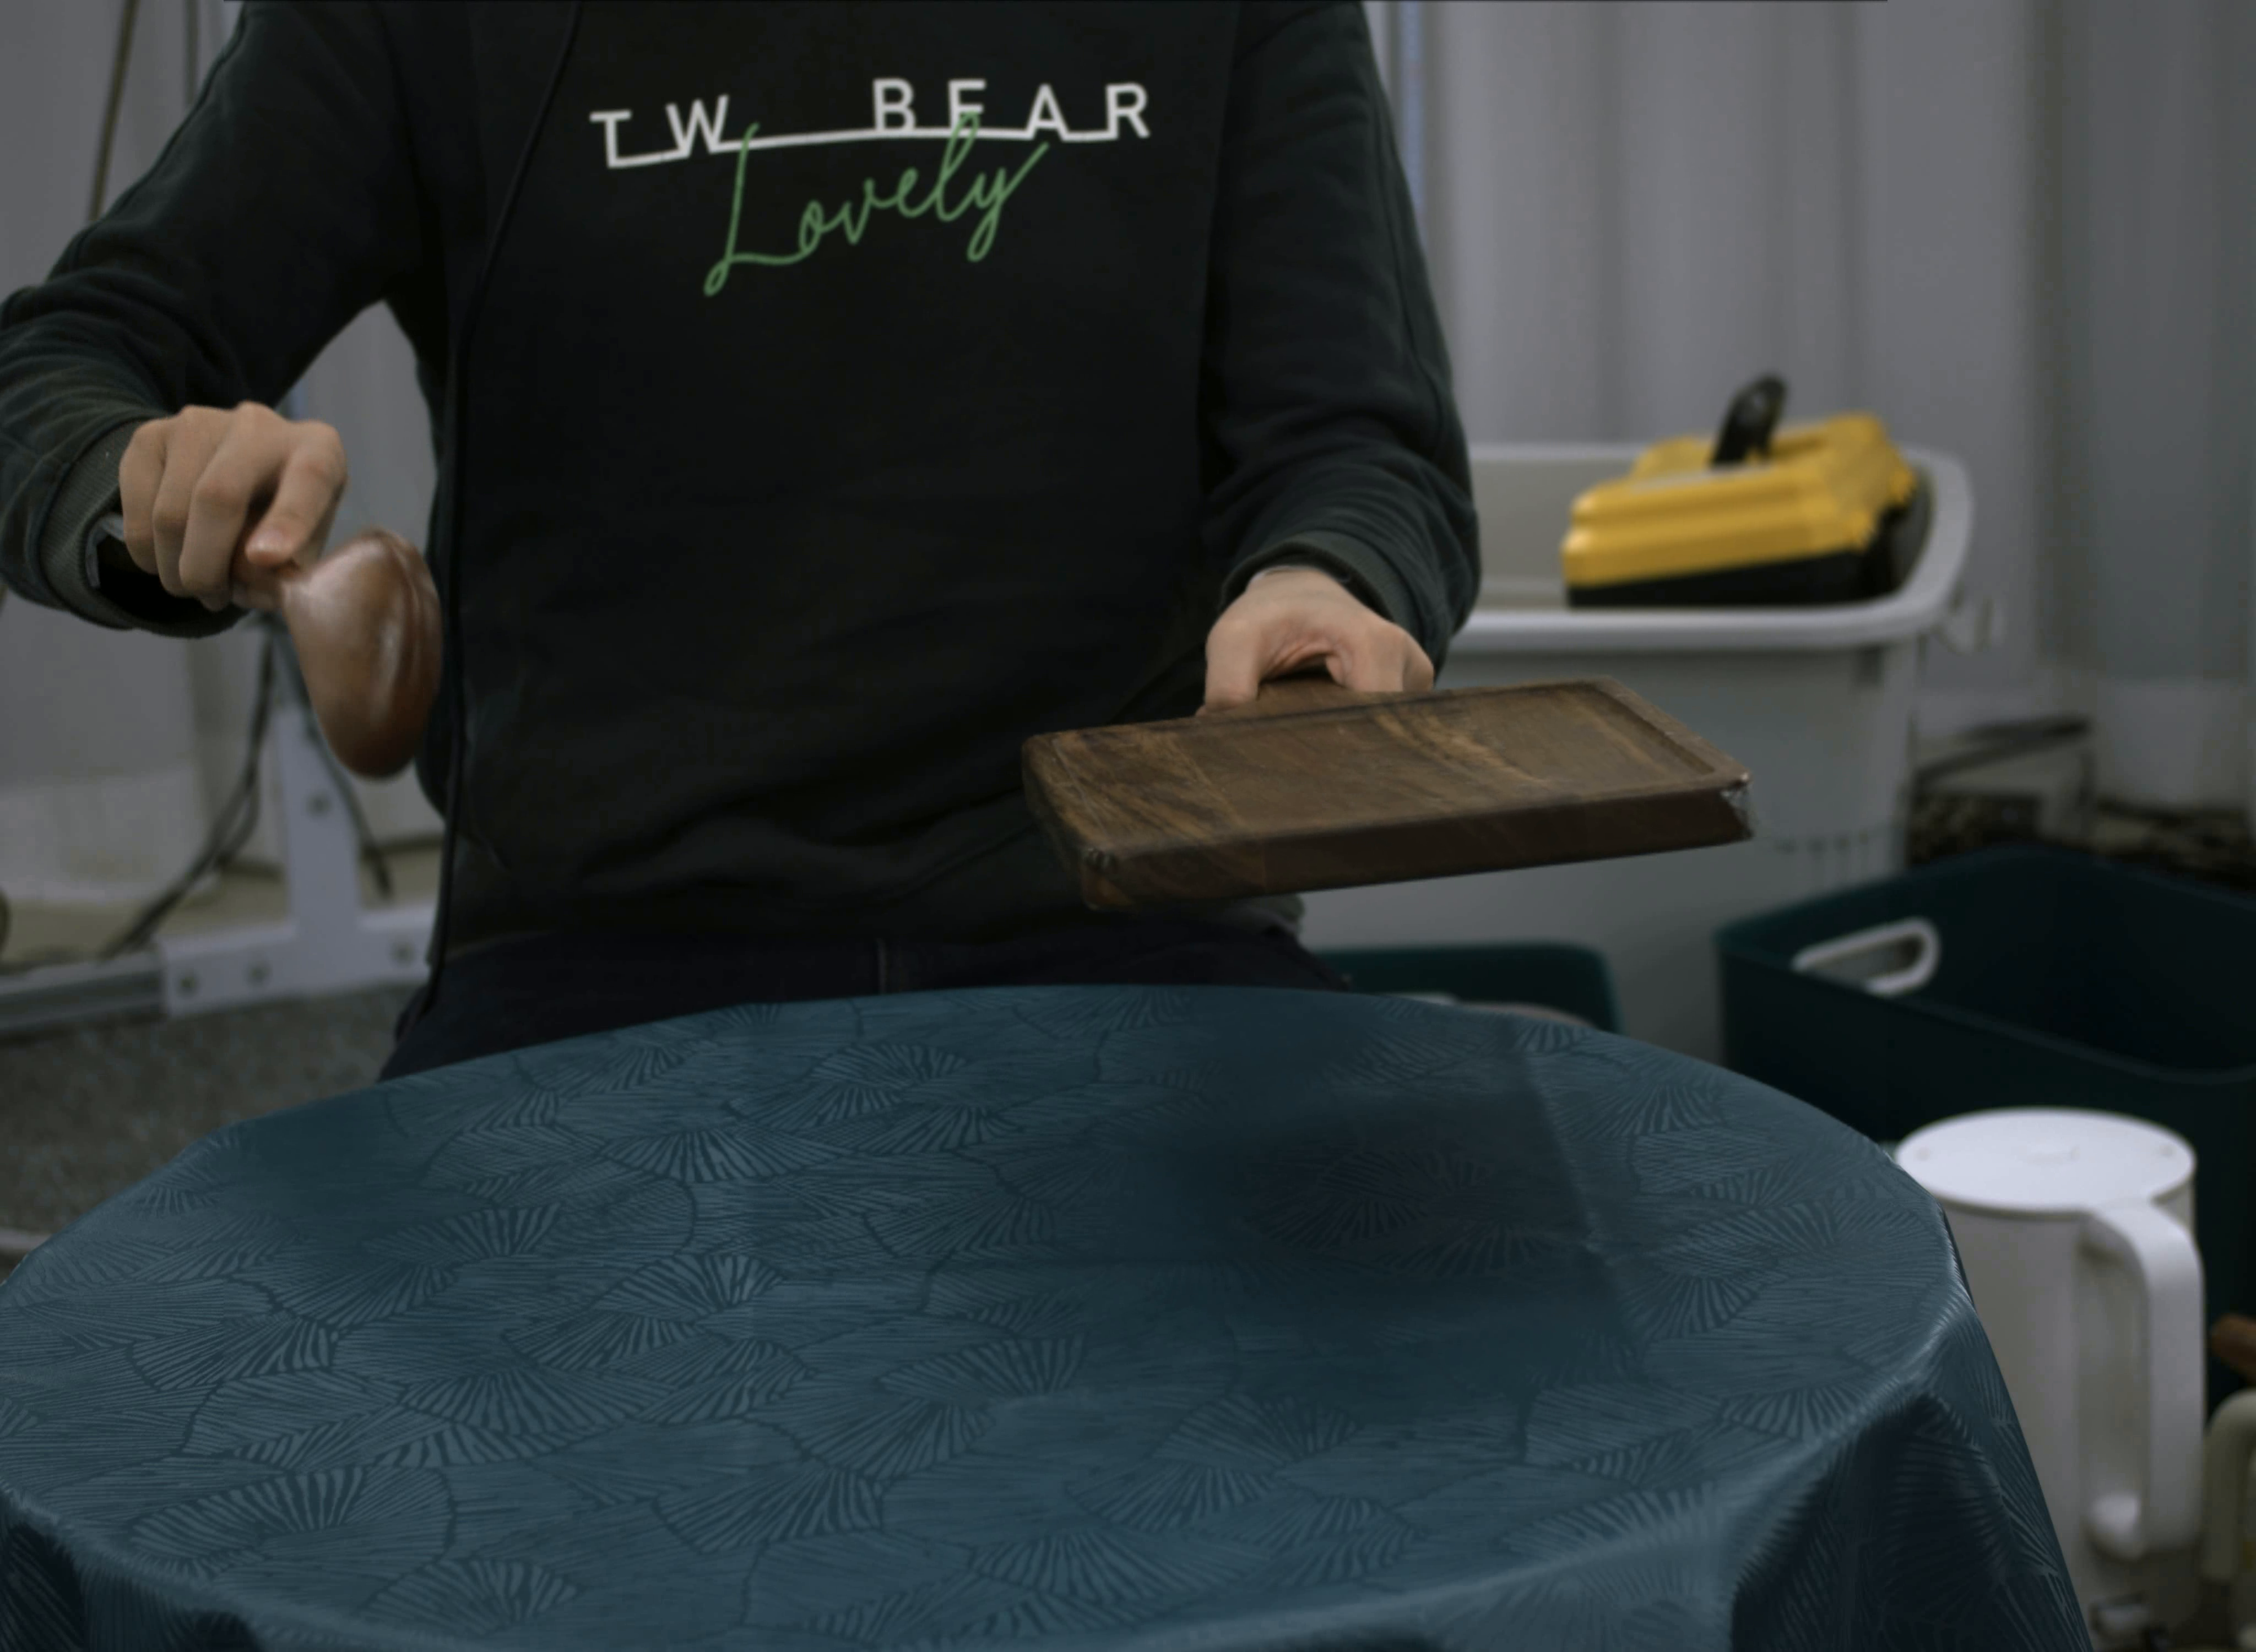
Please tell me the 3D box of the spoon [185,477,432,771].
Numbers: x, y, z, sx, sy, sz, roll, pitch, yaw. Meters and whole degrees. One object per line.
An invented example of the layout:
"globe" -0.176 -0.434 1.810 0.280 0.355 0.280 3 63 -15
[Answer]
"spoon" -0.254 -0.072 1.682 0.017 0.075 0.218 -1 16 -26

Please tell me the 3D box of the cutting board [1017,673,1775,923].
"cutting board" 0.069 -0.018 1.711 0.200 0.023 0.353 -7 9 -4
